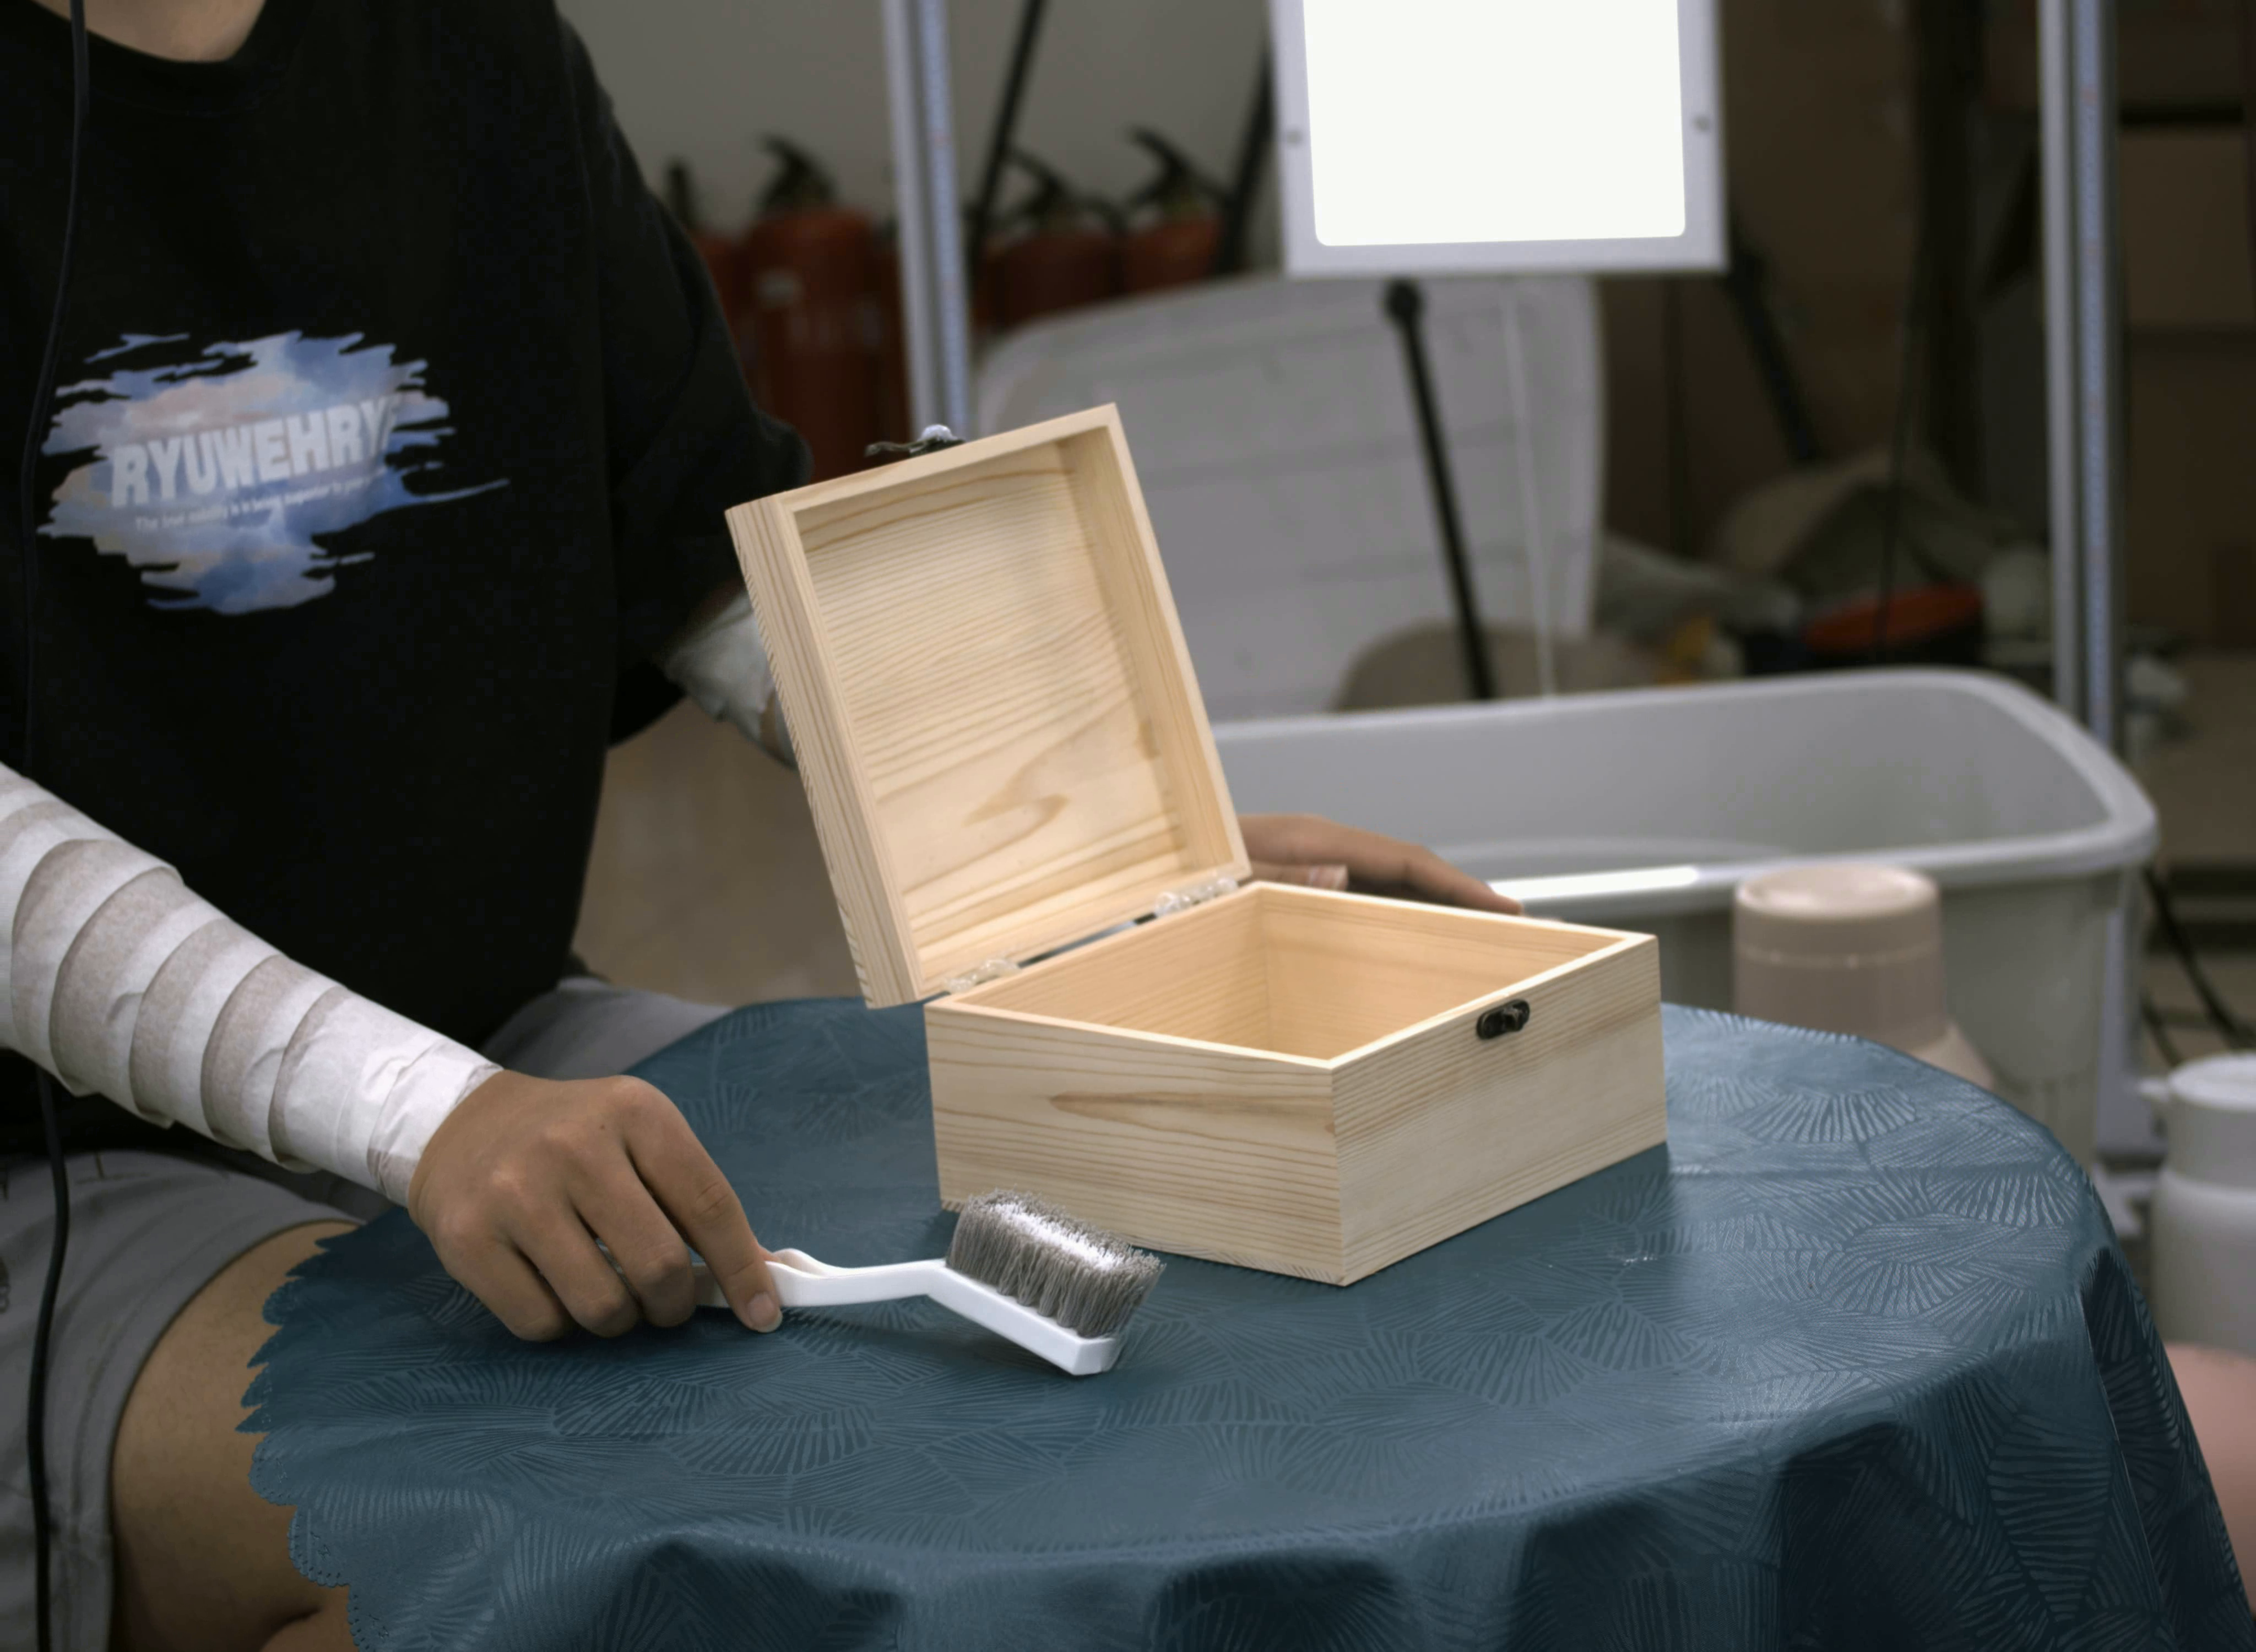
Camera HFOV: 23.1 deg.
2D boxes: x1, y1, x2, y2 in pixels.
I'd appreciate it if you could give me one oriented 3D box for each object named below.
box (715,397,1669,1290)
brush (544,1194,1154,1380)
[{"bbox_3d":[0.026,-0.003,1.894,0.271,0.254,0.177,7,20,41],"label":"box"},{"bbox_3d":[-0.096,0.136,1.784,0.249,0.050,0.033,7,14,38],"label":"brush"}]
